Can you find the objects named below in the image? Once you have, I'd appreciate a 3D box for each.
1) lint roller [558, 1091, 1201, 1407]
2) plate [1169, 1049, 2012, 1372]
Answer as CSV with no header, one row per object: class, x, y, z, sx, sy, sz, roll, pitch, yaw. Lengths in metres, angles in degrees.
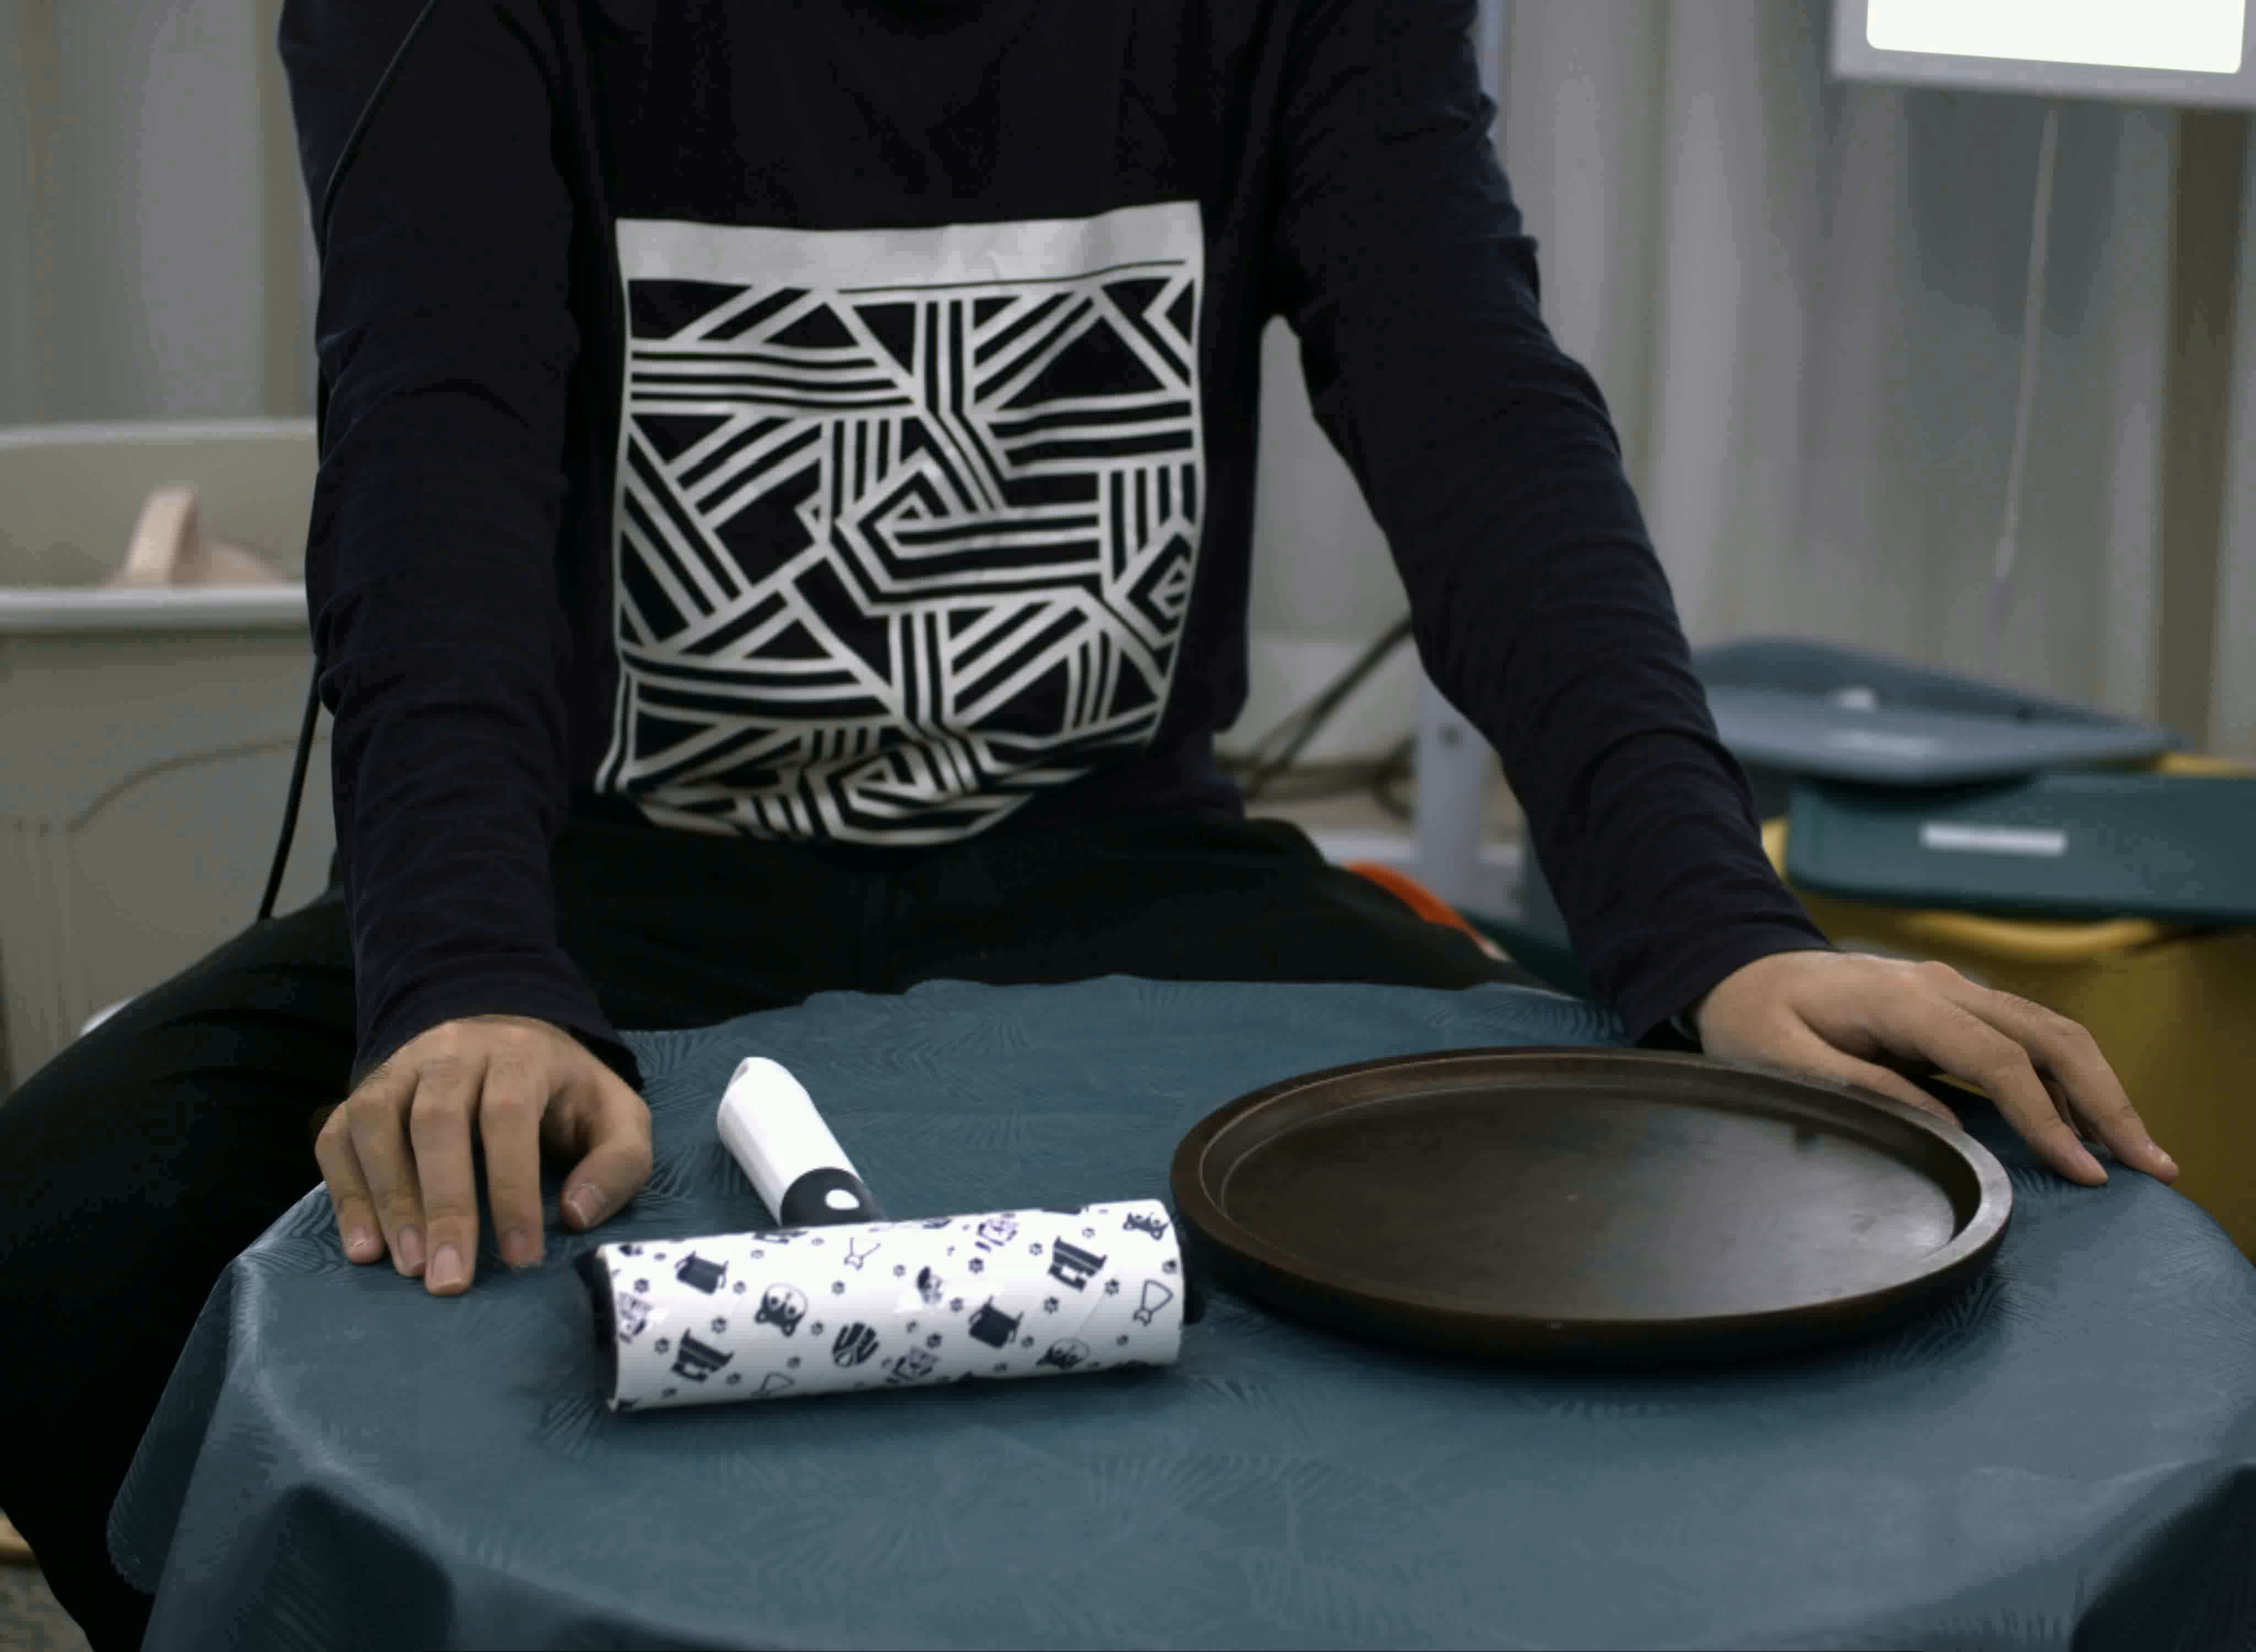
lint roller,-0.093,0.110,1.554,0.176,0.051,0.245,-5,13,-14
plate,0.138,0.113,1.585,0.254,0.029,0.253,0,14,0
